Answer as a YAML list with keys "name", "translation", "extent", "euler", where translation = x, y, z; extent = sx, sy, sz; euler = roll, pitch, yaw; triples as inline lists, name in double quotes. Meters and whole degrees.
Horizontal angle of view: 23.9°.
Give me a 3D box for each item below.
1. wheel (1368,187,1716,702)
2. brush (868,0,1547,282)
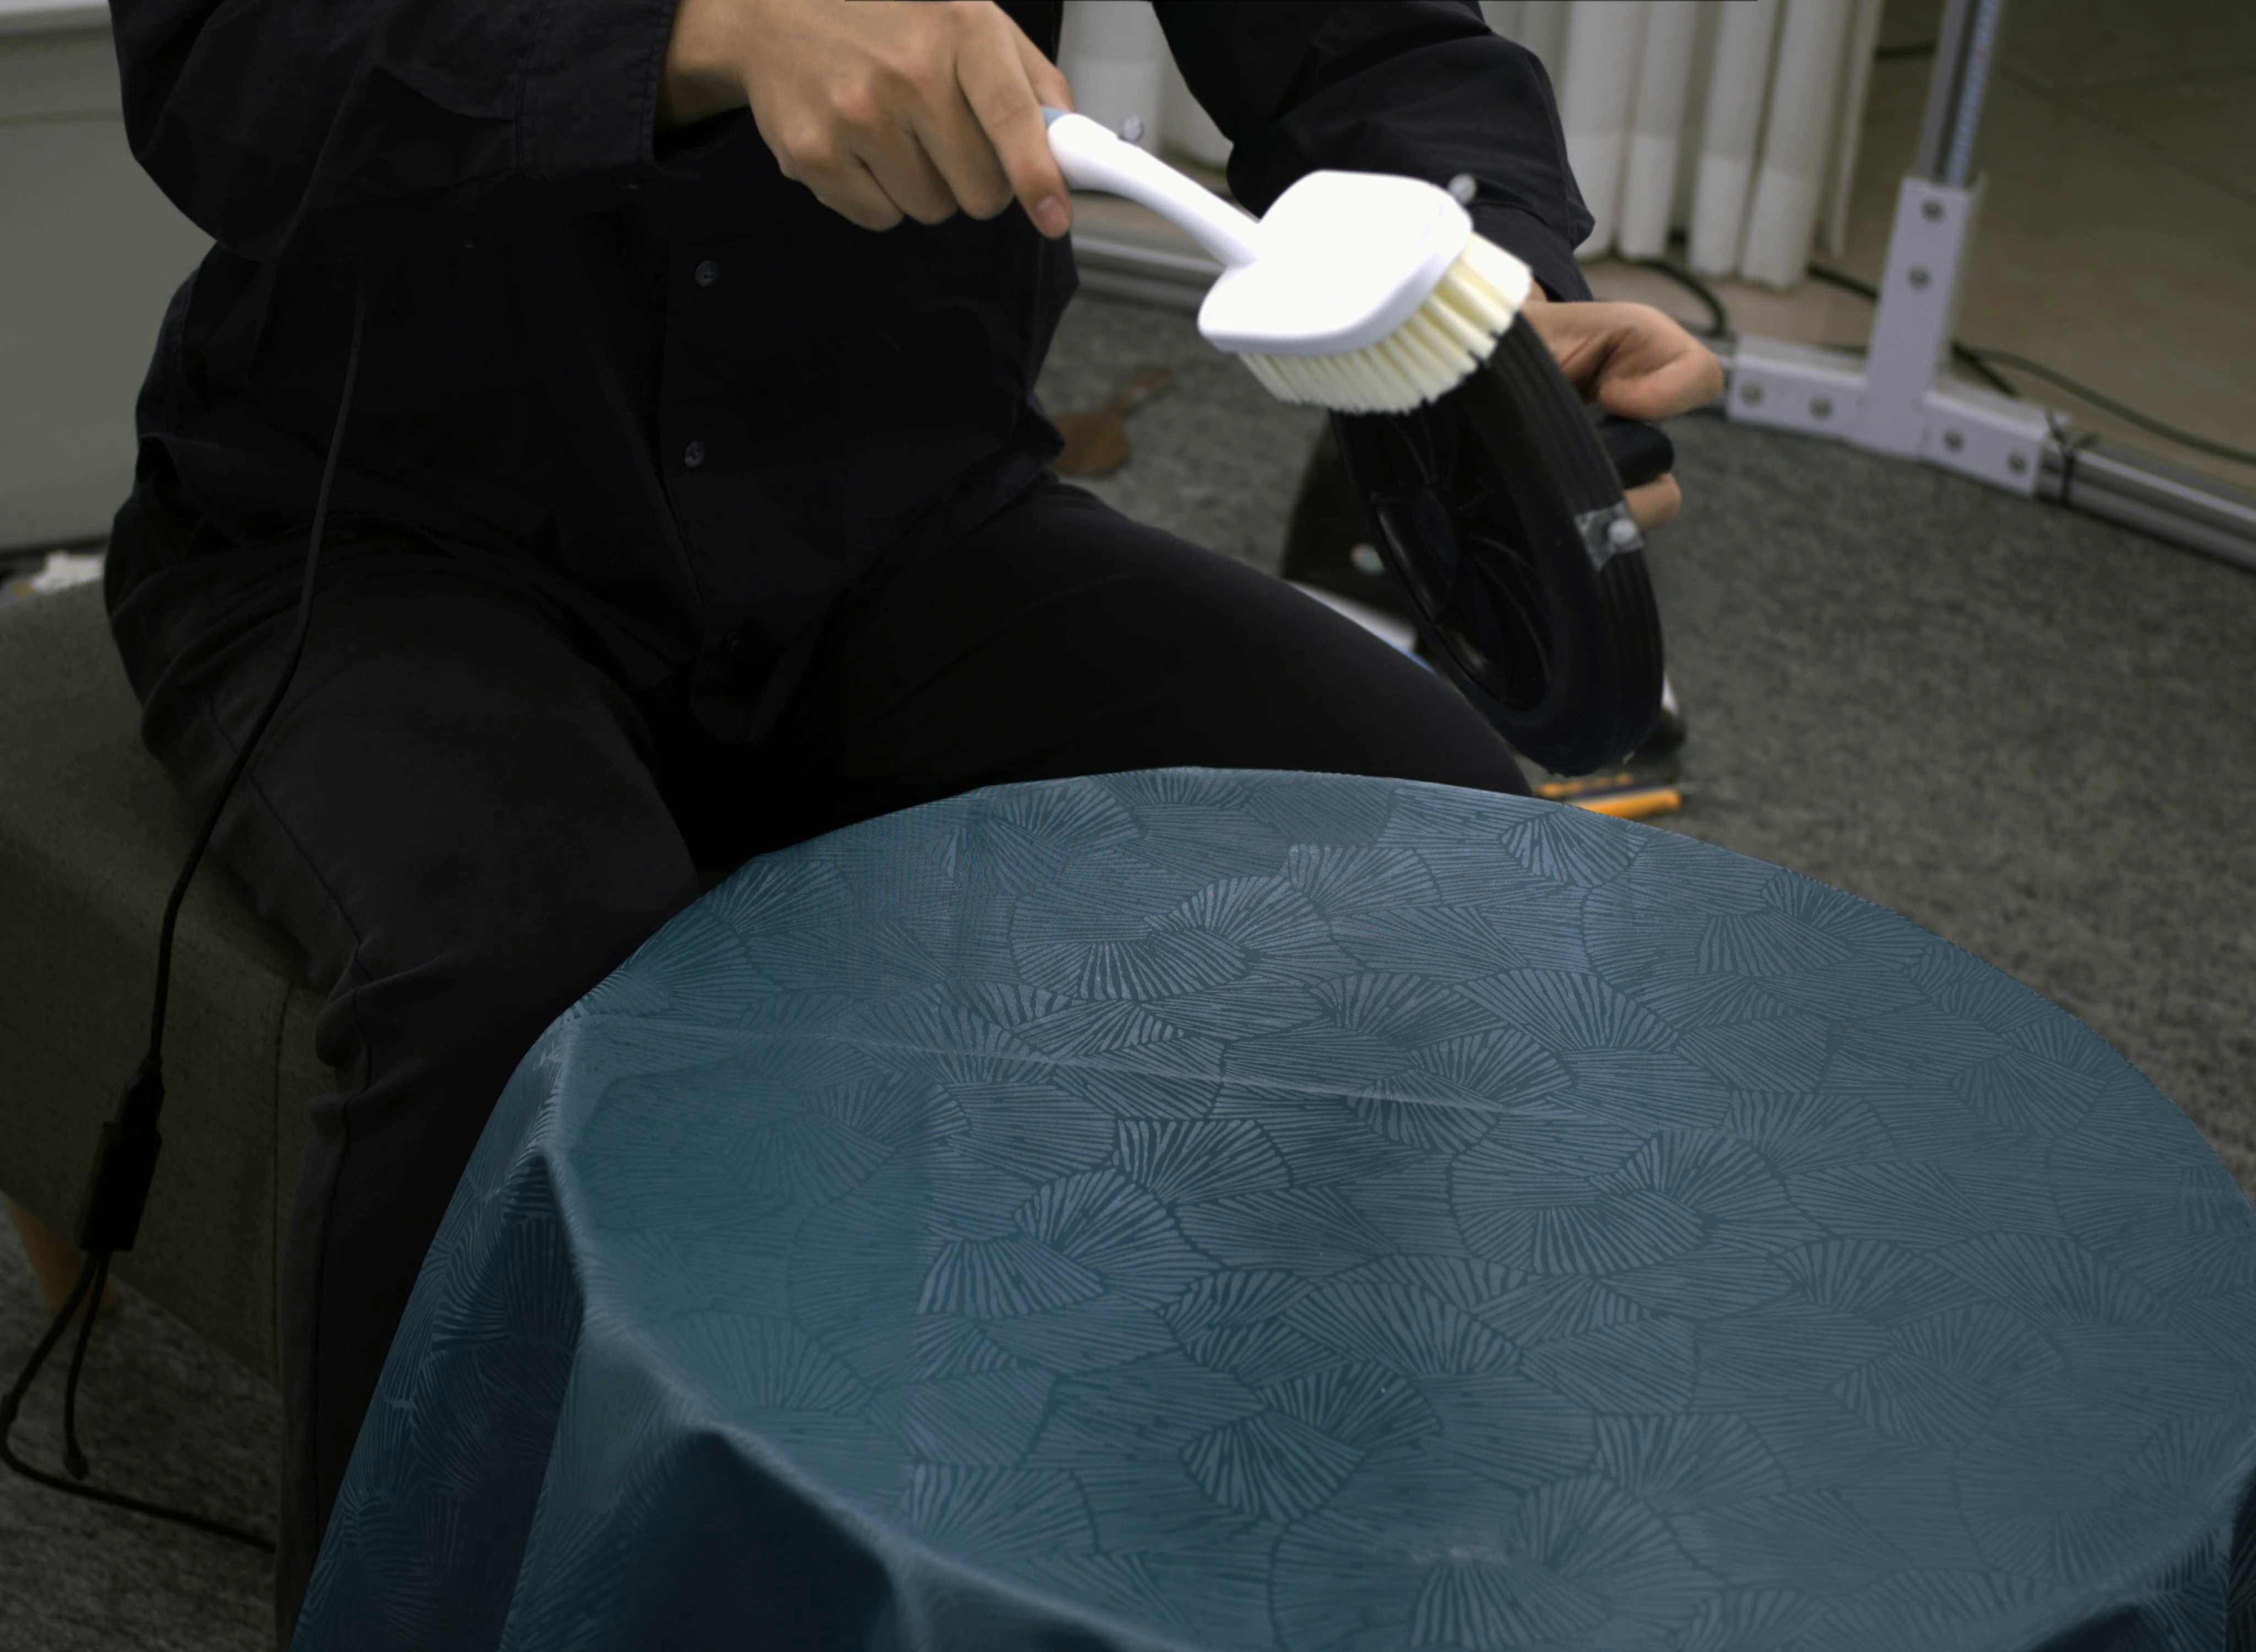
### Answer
- name: "wheel"
  translation: [0.155, -0.139, 1.776]
  extent: [0.079, 0.186, 0.191]
  euler: [-27, 47, -15]
- name: "brush"
  translation: [0.031, -0.236, 1.758]
  extent: [0.083, 0.084, 0.328]
  euler: [-23, 27, -30]
